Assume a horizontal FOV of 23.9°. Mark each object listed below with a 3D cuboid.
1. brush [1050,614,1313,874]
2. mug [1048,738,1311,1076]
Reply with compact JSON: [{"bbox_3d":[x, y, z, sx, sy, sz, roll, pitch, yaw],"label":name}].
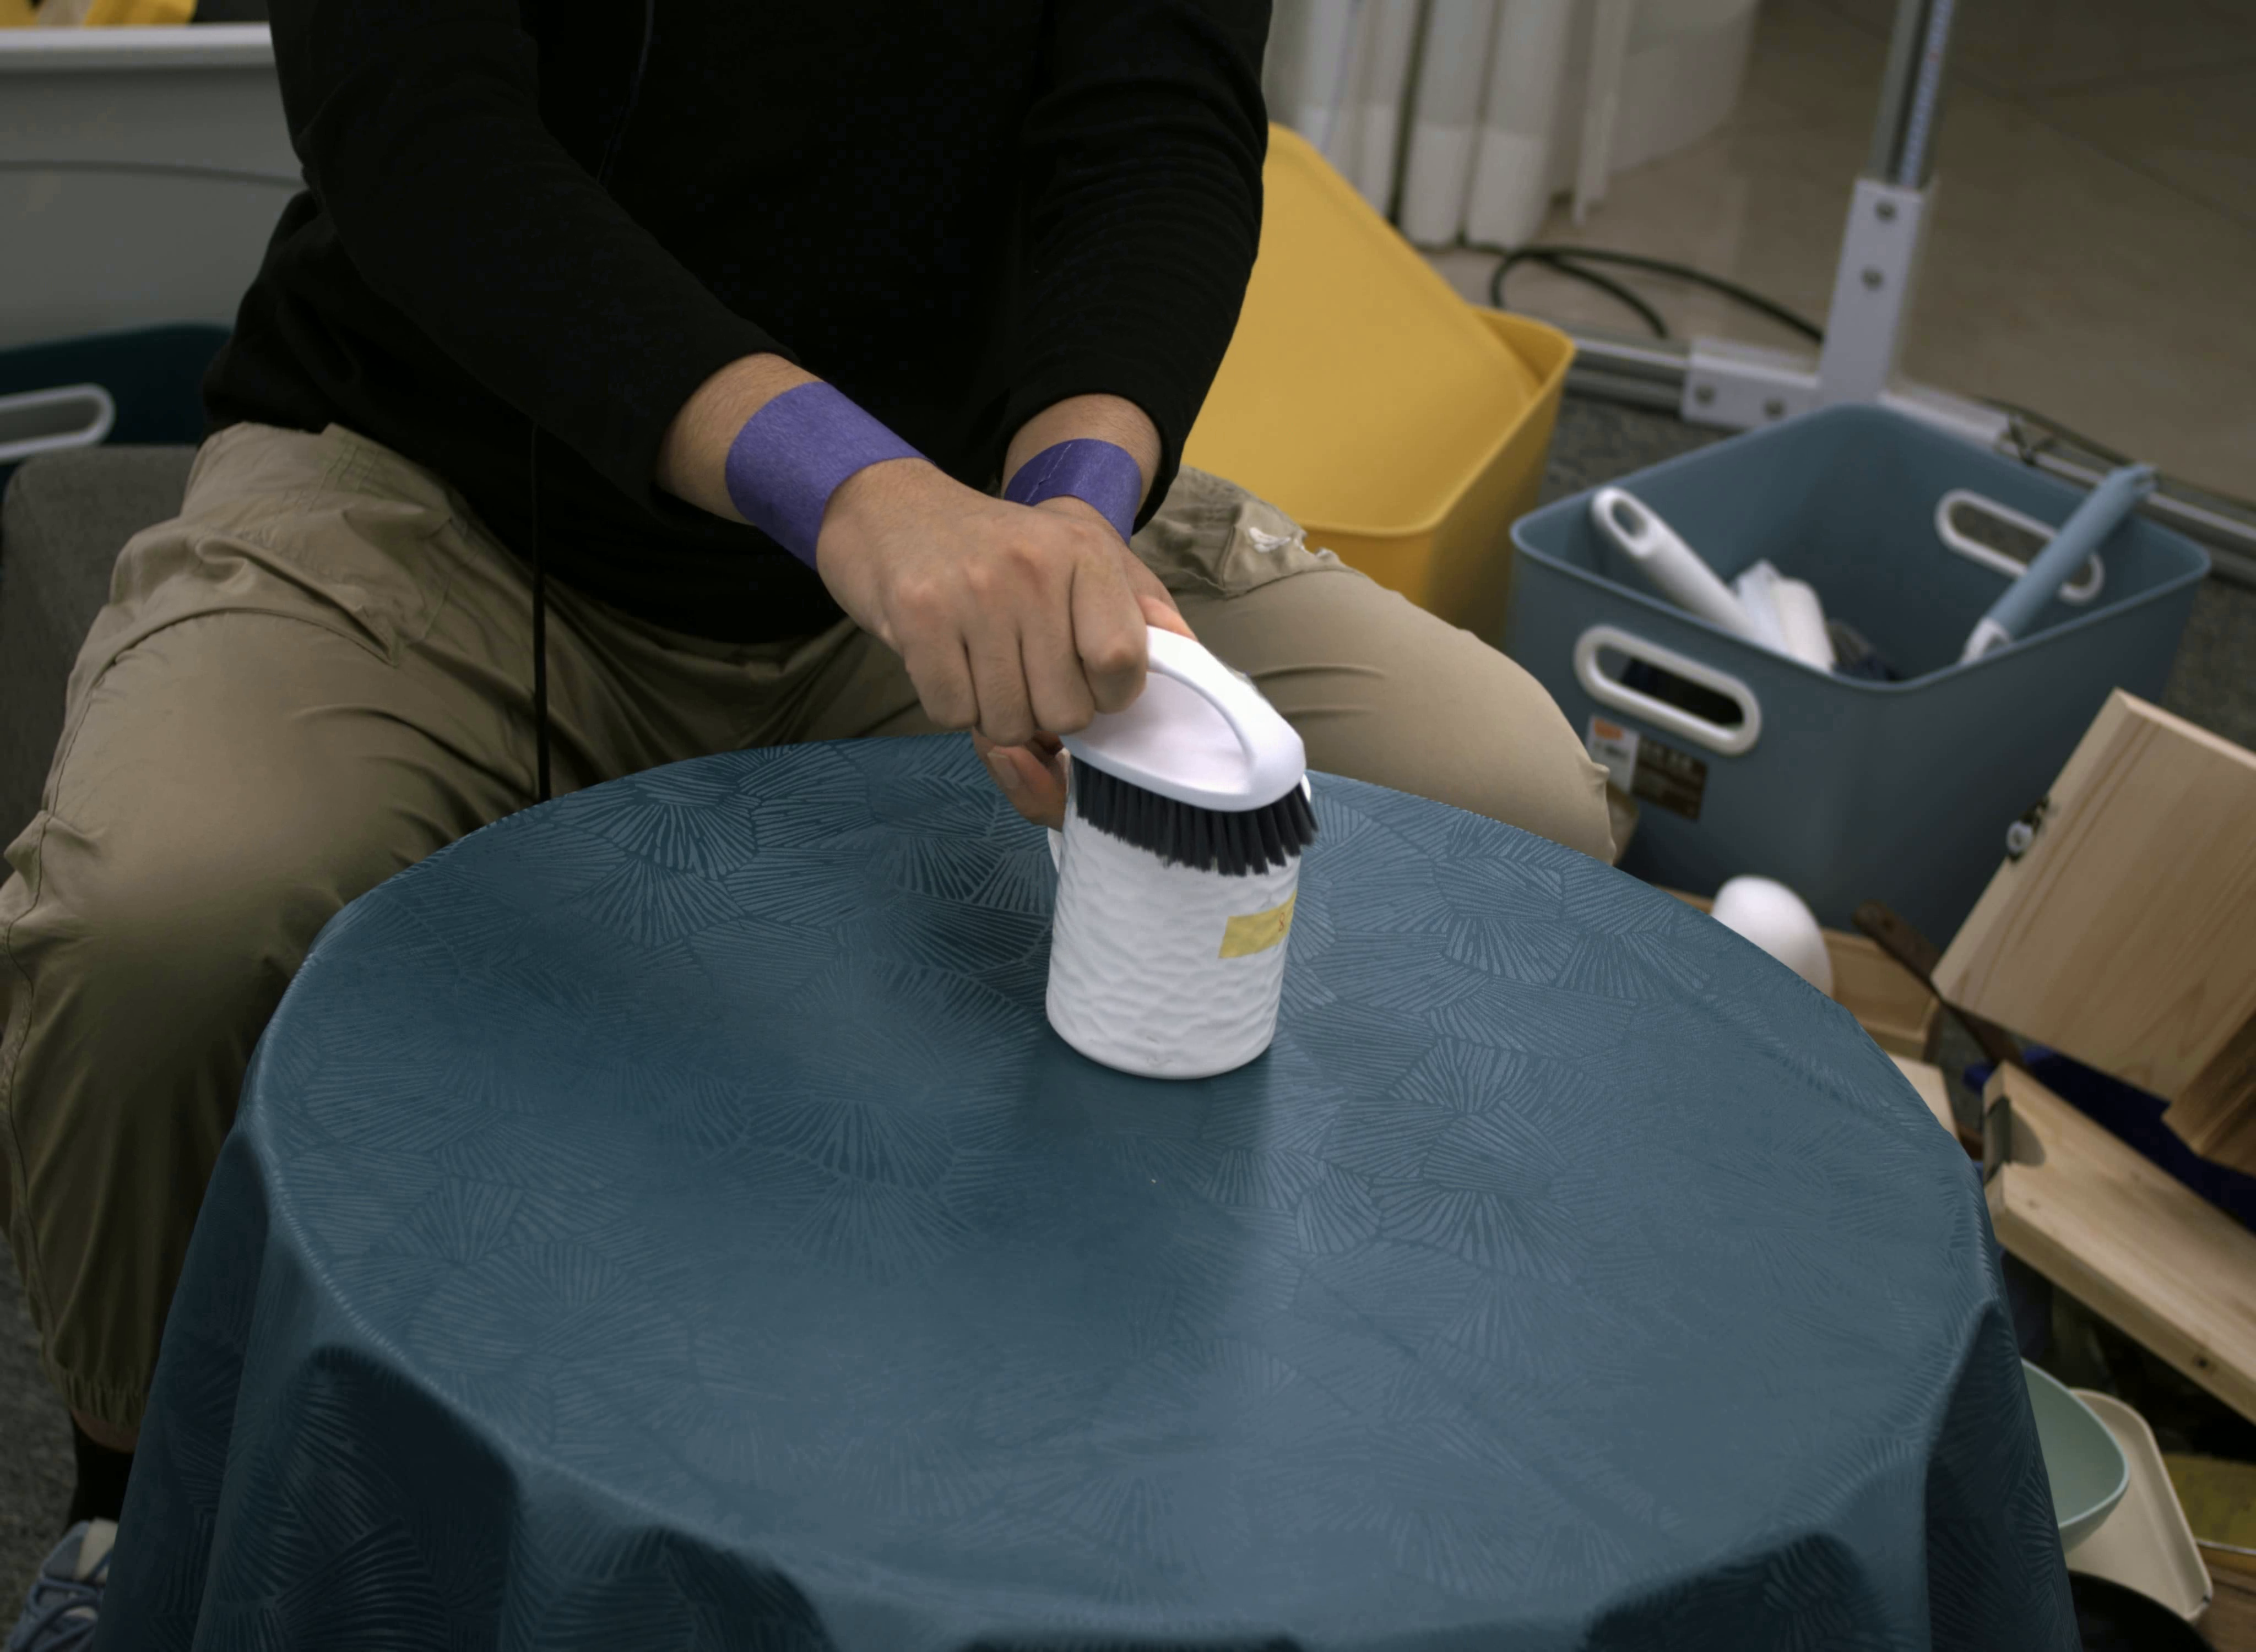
[{"bbox_3d":[0.015,-0.035,1.798,0.100,0.072,0.050,25,49,38],"label":"brush"},{"bbox_3d":[0.008,0.018,1.892,0.084,0.101,0.119,-13,34,-31],"label":"mug"}]
